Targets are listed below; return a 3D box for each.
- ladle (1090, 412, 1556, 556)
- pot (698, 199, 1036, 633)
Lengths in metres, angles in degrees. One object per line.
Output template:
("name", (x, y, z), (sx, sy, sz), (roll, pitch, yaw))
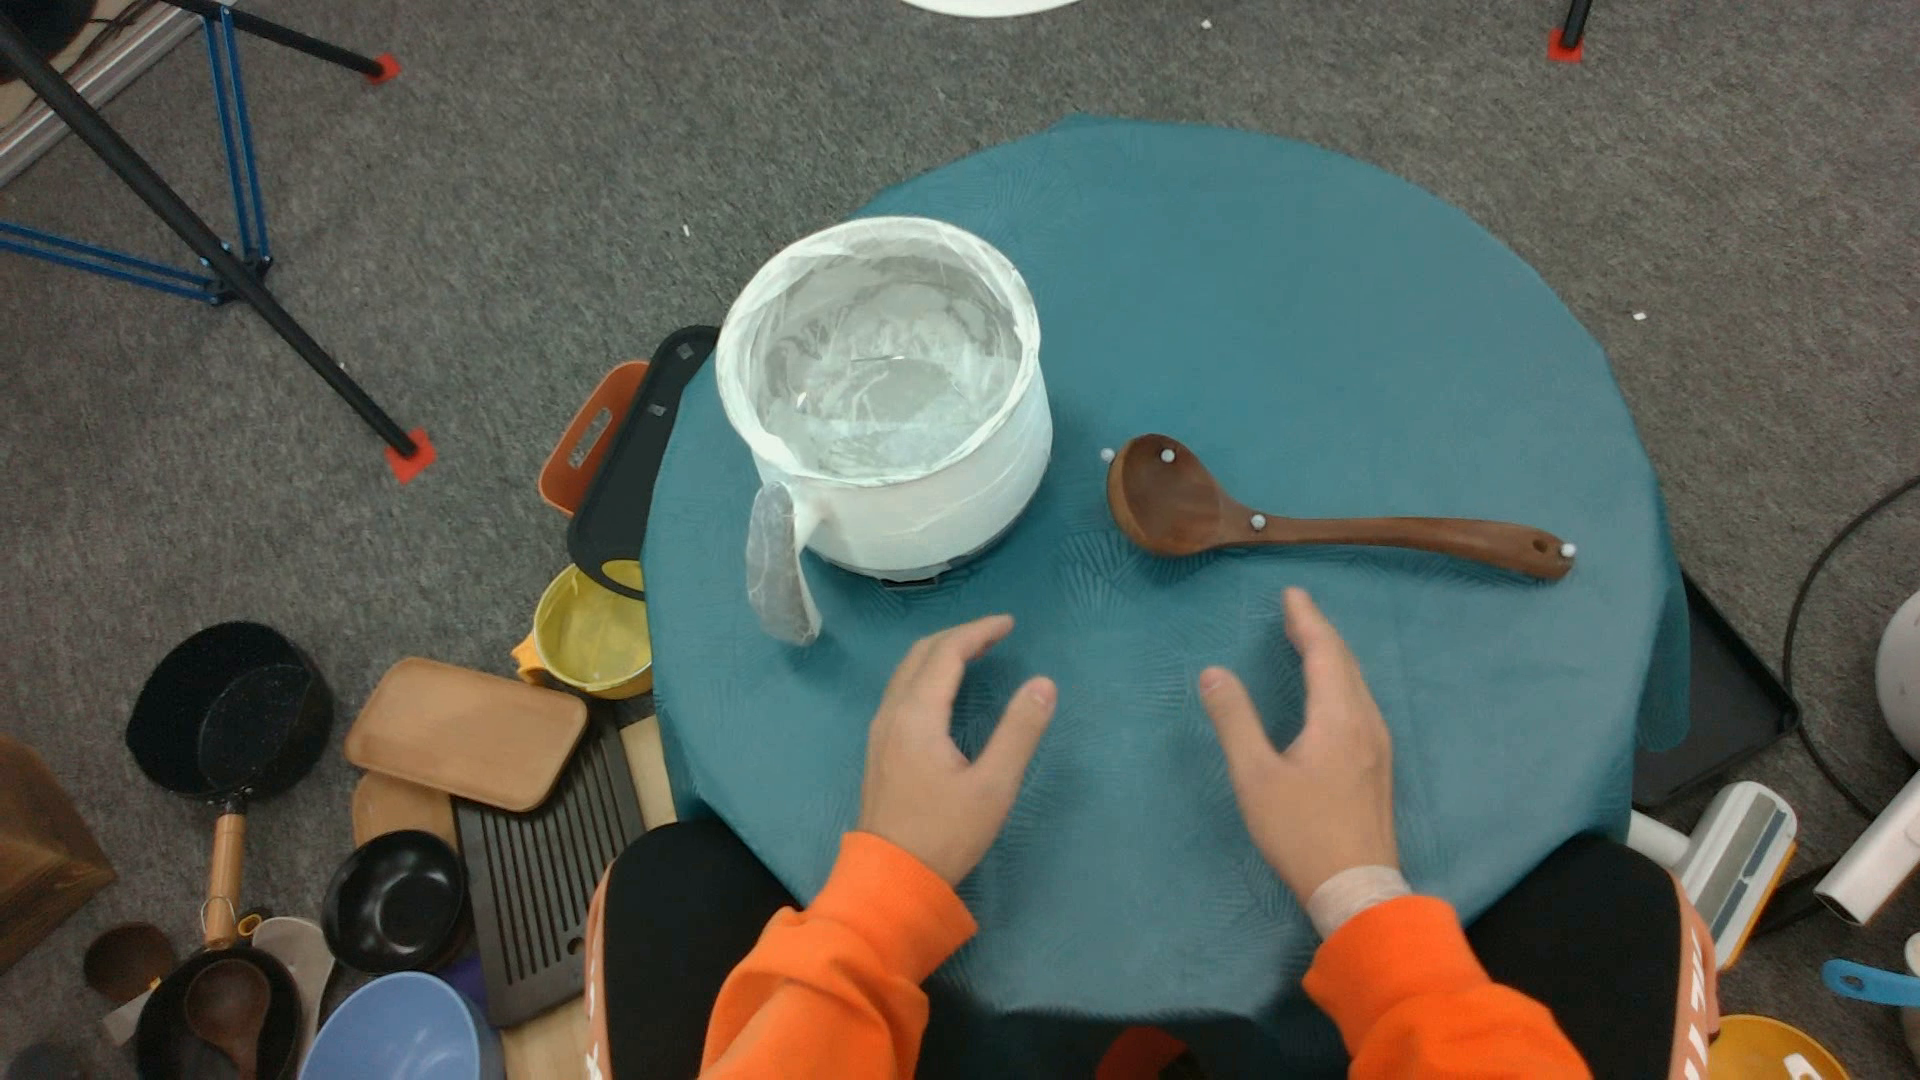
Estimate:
("ladle", (0.203, -0.025, 0.771), (0.260, 0.065, 0.077), (6, 67, 11))
("pot", (-0.059, -0.063, 0.784), (0.178, 0.136, 0.234), (22, 68, 18))
